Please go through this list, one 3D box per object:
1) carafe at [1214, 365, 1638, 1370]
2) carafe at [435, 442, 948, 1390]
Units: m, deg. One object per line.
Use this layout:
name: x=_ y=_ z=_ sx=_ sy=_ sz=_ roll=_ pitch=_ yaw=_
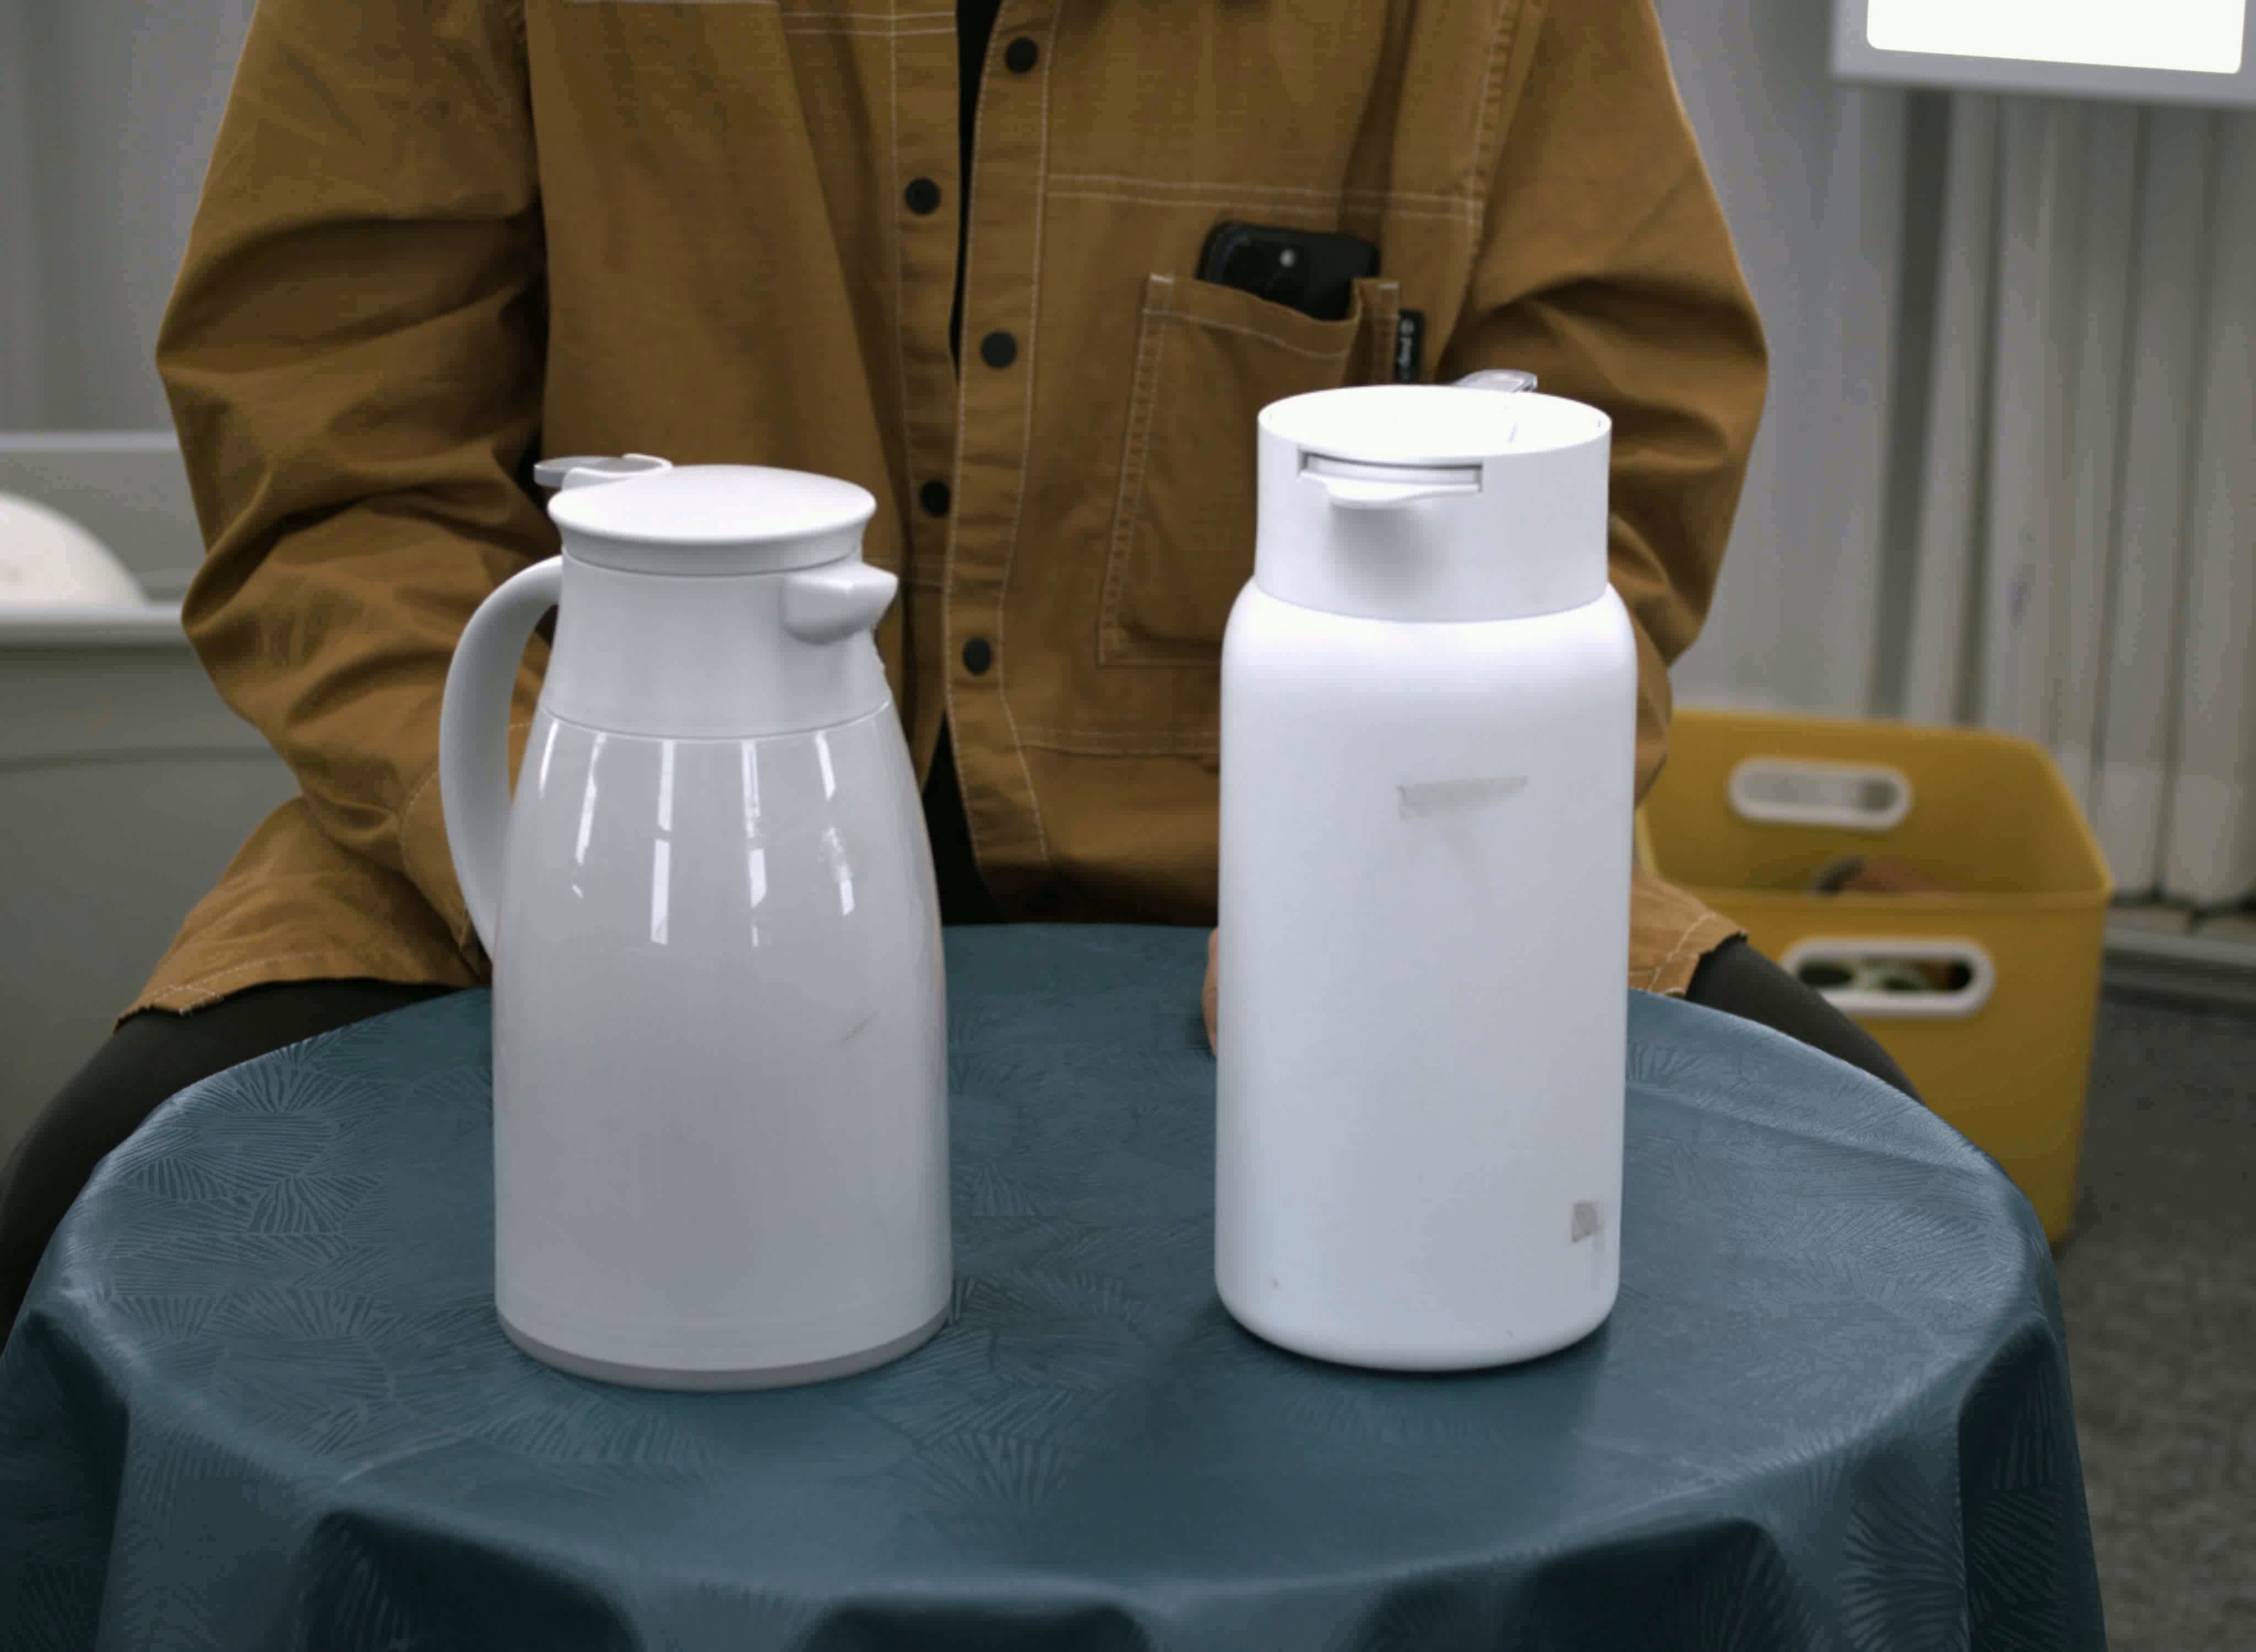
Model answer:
carafe: x=0.088 y=0.007 z=1.502 sx=0.123 sy=0.271 sz=0.173 roll=4 pitch=16 yaw=19
carafe: x=-0.132 y=0.017 z=1.495 sx=0.165 sy=0.250 sz=0.133 roll=12 pitch=19 yaw=37
